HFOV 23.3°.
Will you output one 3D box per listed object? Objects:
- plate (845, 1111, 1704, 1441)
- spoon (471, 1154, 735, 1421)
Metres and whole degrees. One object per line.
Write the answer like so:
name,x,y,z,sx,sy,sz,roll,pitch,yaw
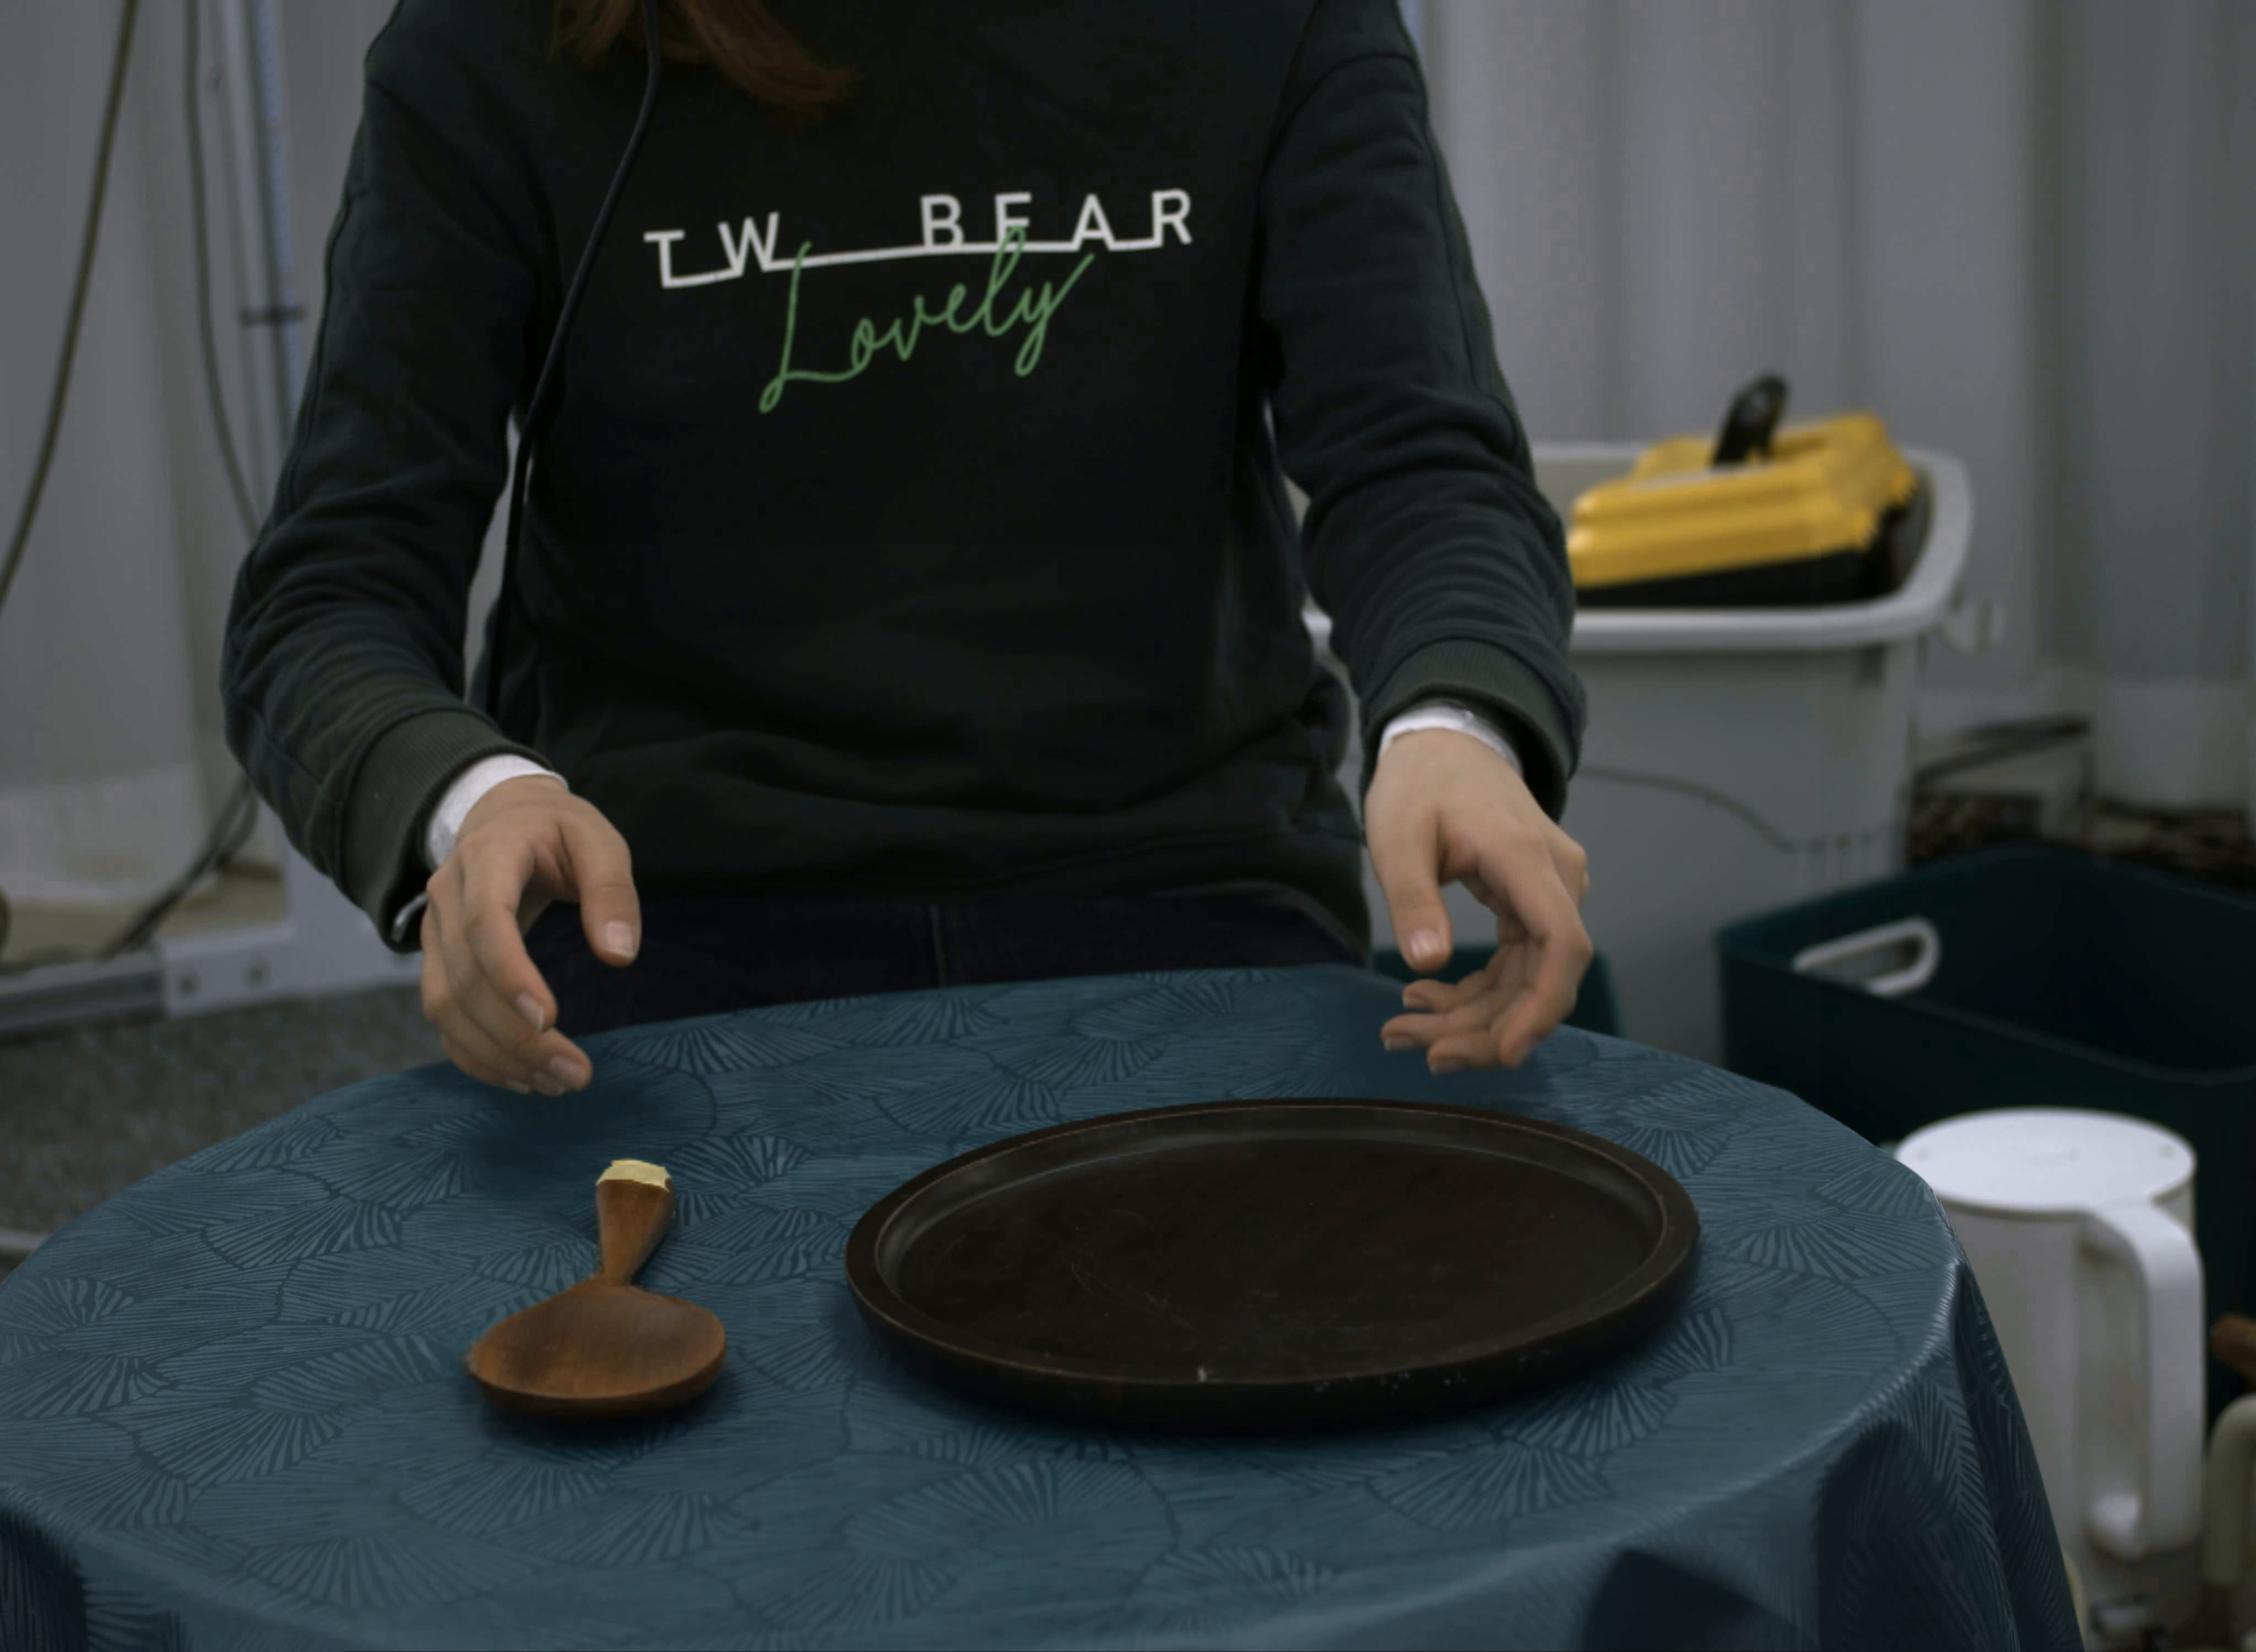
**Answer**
plate,0.043,0.129,1.610,0.254,0.029,0.256,-2,16,0
spoon,-0.152,0.138,1.623,0.075,0.017,0.217,-3,15,-1
